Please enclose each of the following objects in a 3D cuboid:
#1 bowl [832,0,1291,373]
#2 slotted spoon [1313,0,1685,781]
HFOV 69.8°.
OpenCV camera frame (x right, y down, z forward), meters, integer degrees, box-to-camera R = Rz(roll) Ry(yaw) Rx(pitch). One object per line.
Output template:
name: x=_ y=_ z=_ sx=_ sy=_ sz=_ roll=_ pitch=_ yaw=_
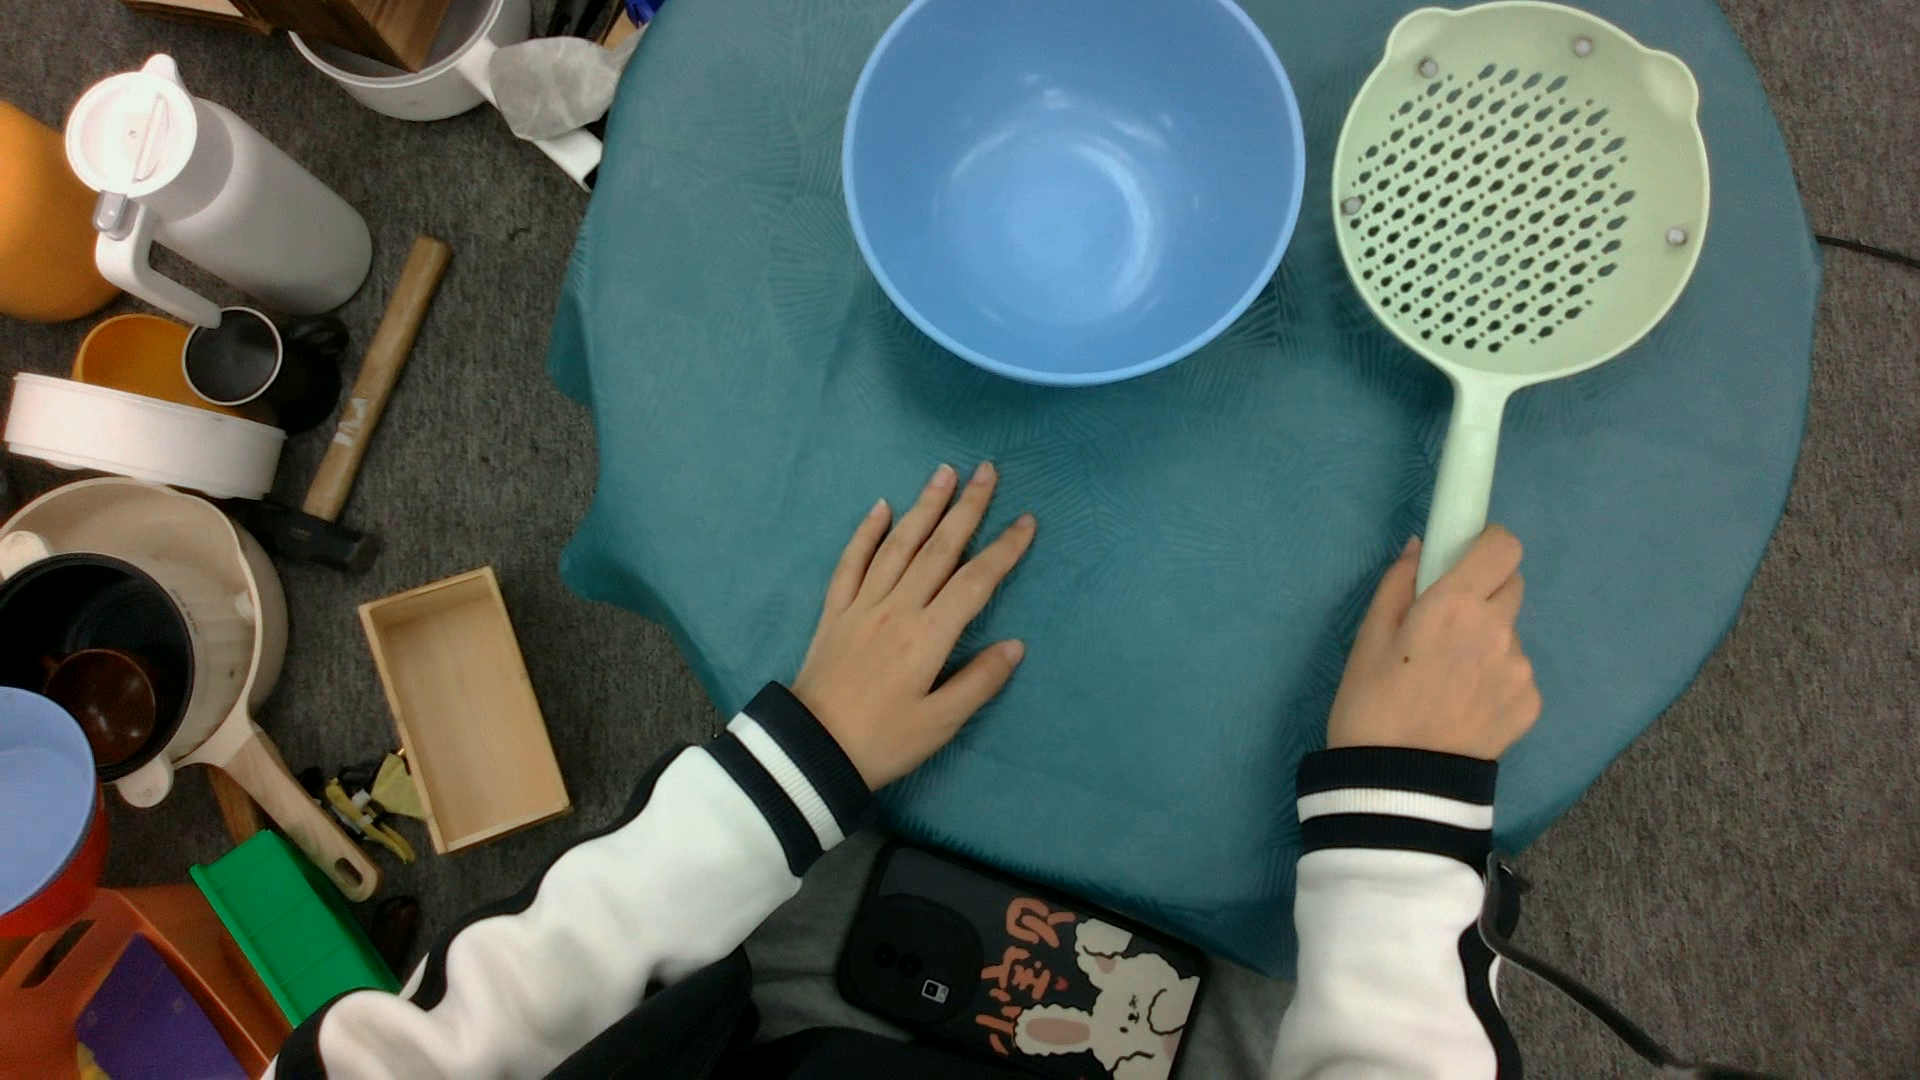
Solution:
bowl: x=0.044 y=-0.162 z=0.632 sx=0.196 sy=0.095 sz=0.196 roll=0 pitch=82 yaw=0
slotted spoon: x=0.226 y=-0.066 z=0.633 sx=0.169 sy=0.075 sz=0.359 roll=10 pitch=82 yaw=0
